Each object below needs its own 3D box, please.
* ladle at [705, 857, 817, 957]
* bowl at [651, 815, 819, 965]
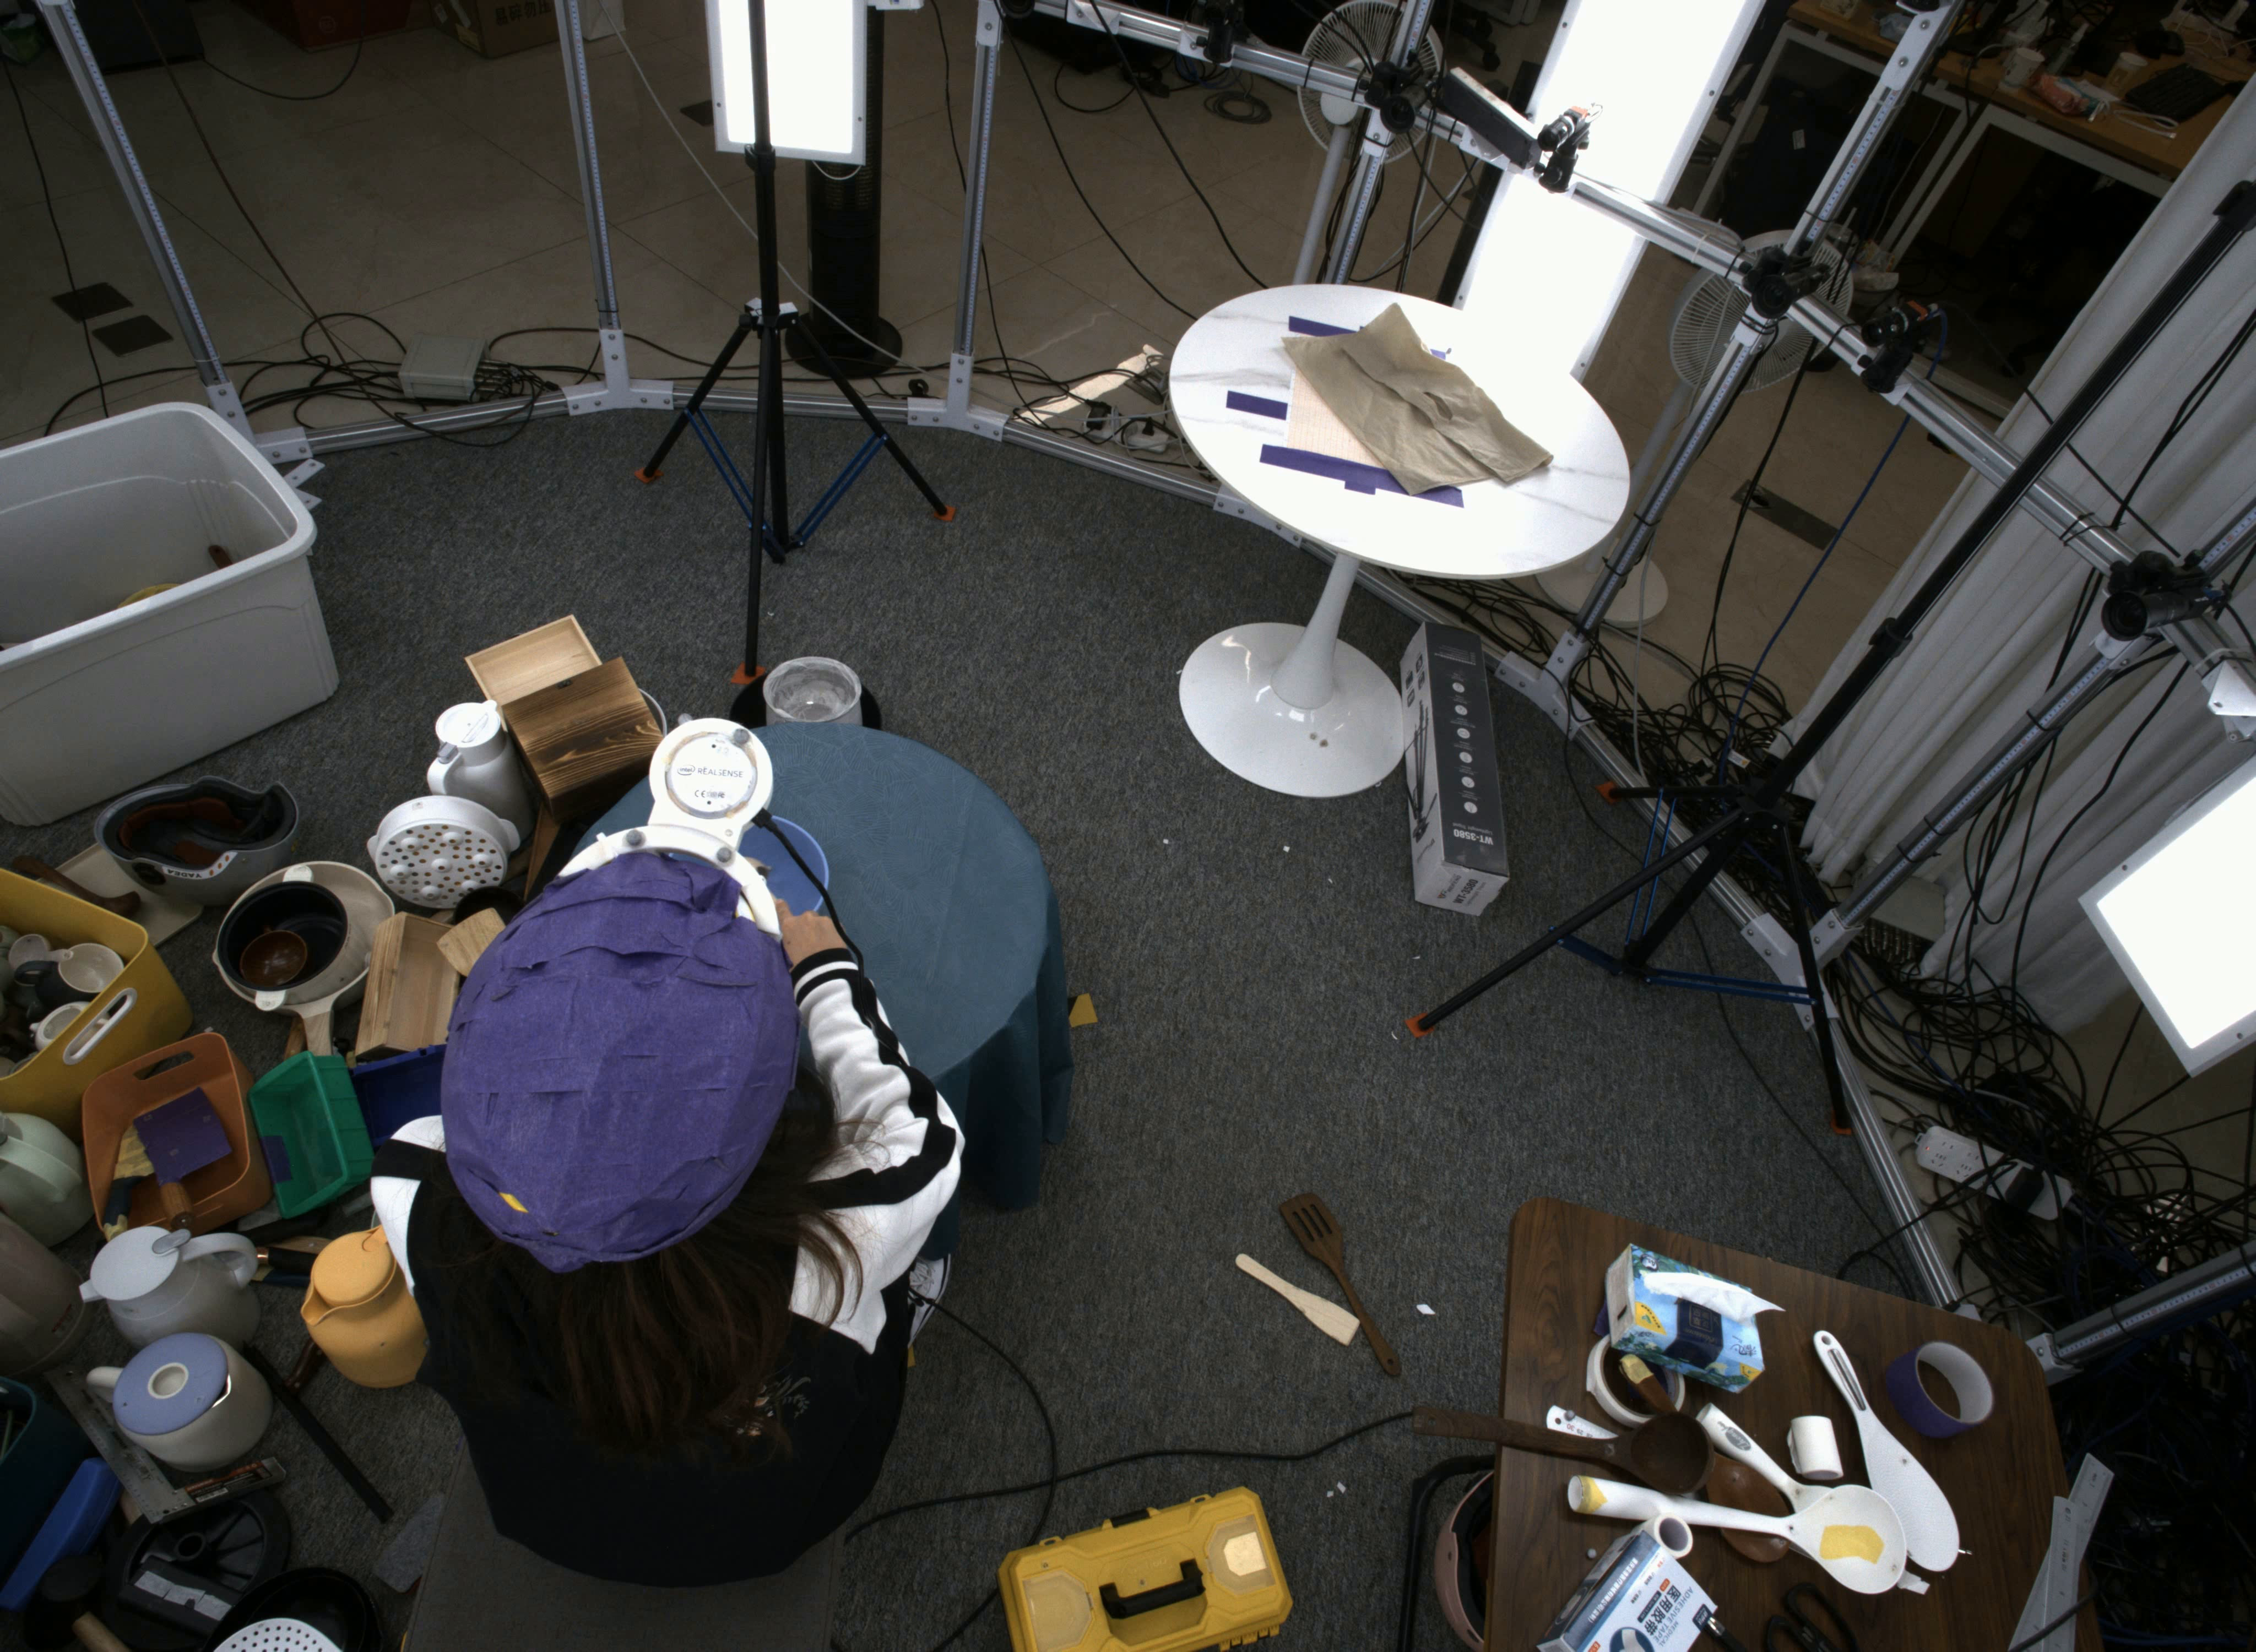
[{"bbox_3d":[-0.424,0.114,1.526,0.072,0.075,0.245,-23,42,-32],"label":"ladle"},{"bbox_3d":[-0.478,0.091,1.579,0.196,0.097,0.193,9,52,-10],"label":"bowl"}]
